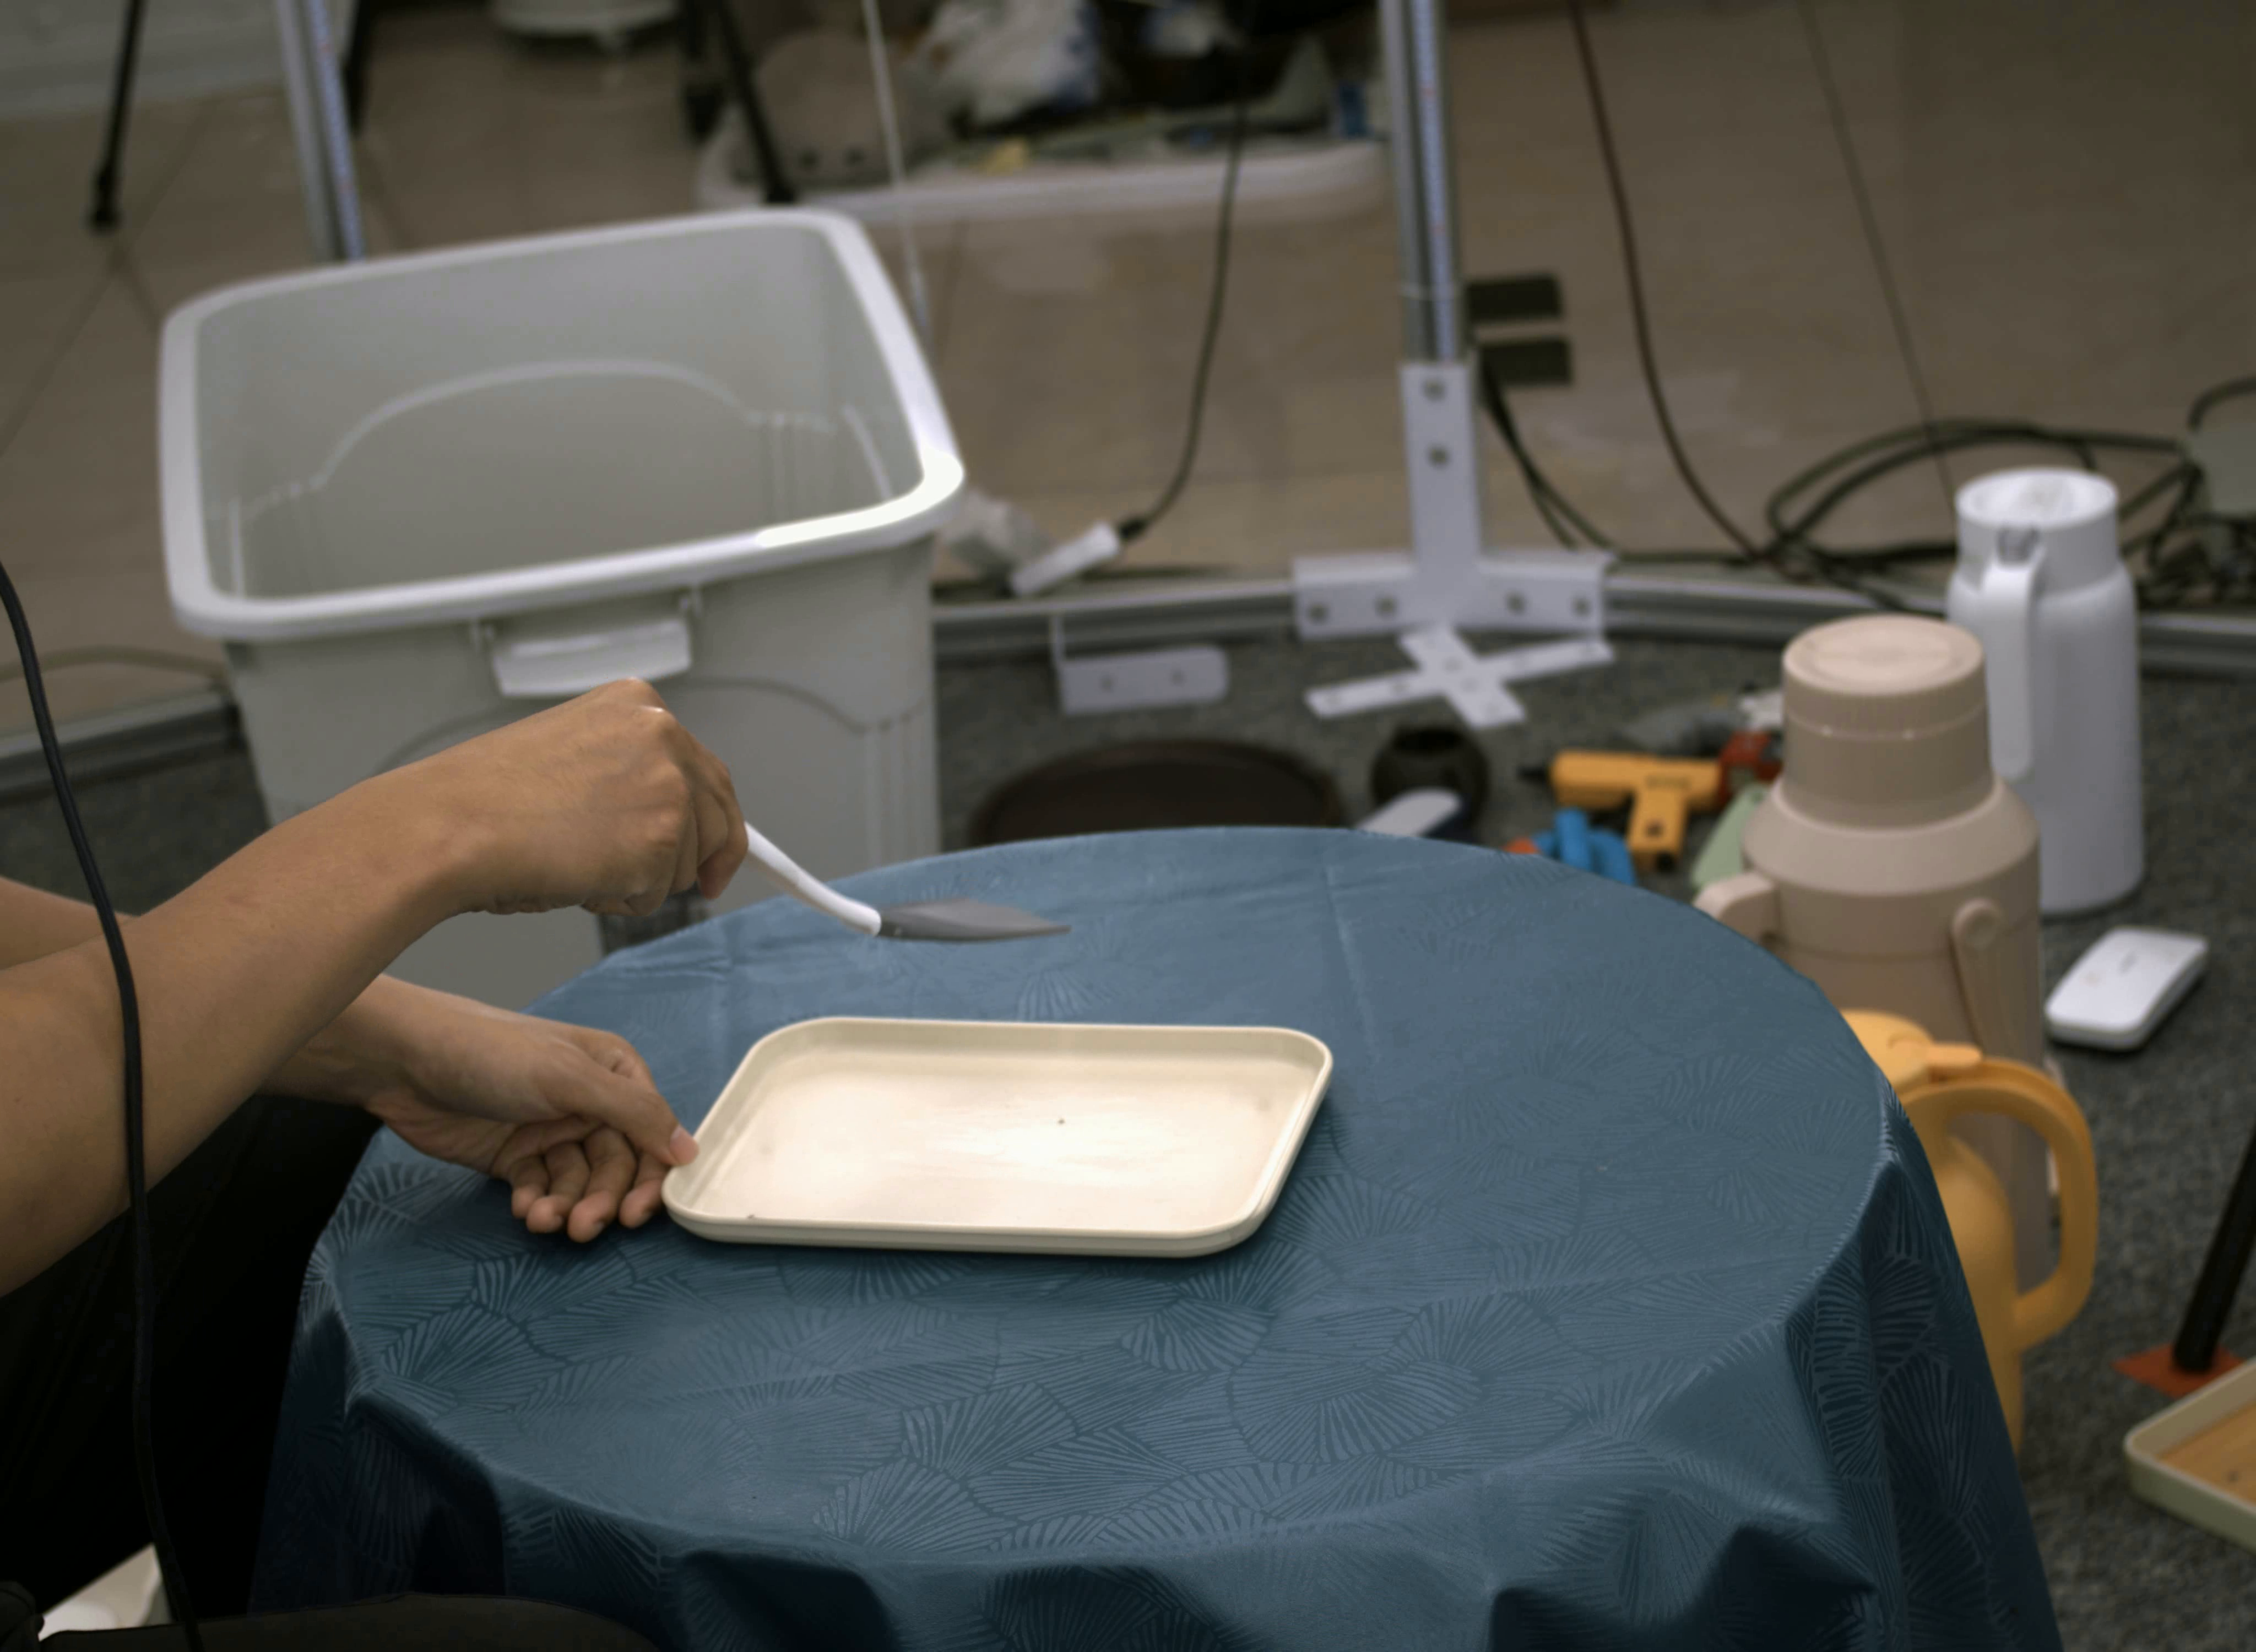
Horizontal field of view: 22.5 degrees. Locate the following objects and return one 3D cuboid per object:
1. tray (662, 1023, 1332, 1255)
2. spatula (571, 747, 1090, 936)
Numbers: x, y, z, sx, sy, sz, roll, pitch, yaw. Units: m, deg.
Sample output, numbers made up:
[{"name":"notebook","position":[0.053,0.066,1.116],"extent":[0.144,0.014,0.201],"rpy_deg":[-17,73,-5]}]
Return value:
[{"name":"tray","position":[-0.048,0.121,2.182],"extent":[0.239,0.018,0.169],"rpy_deg":[1,24,15]},{"name":"spatula","position":[-0.106,0.014,2.031],"extent":[0.058,0.032,0.289],"rpy_deg":[9,-6,31]}]
